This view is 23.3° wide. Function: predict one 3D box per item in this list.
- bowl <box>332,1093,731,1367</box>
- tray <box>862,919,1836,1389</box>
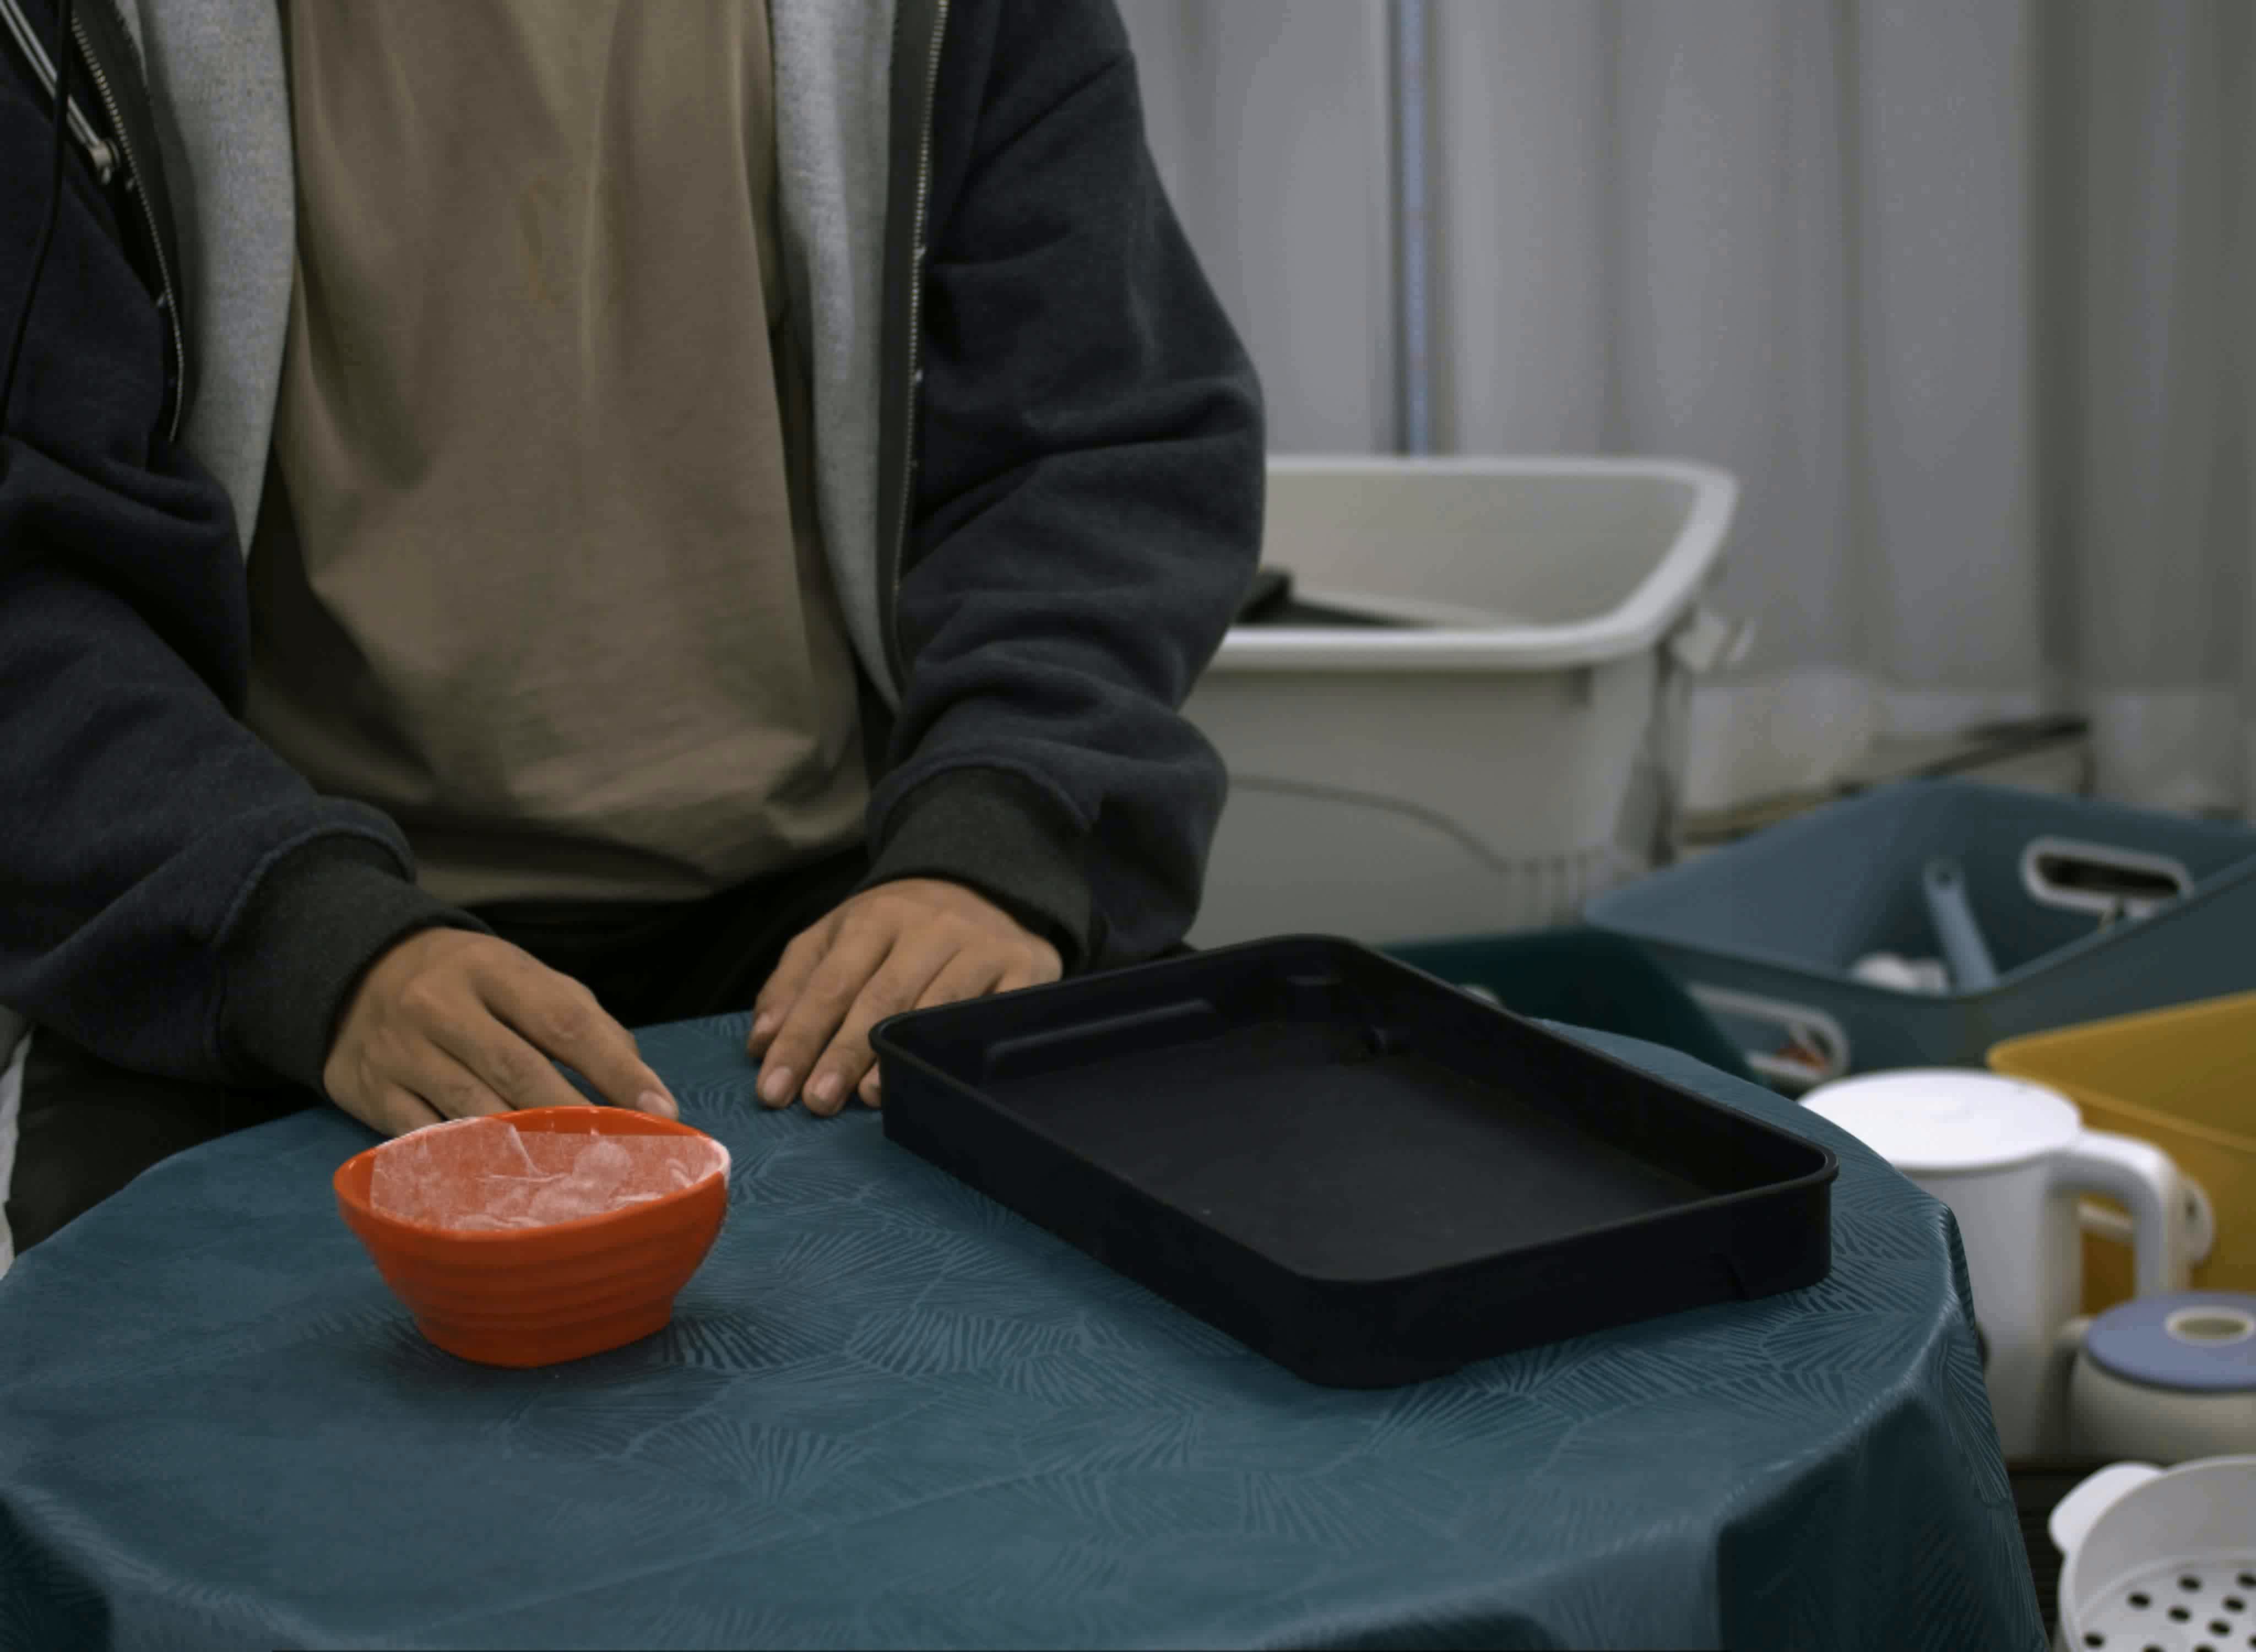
[{"bbox_3d":[-0.175,0.122,1.618,0.118,0.051,0.120,-3,17,1],"label":"bowl"},{"bbox_3d":[0.061,0.096,1.698,0.183,0.037,0.320,-10,17,-27],"label":"tray"}]
